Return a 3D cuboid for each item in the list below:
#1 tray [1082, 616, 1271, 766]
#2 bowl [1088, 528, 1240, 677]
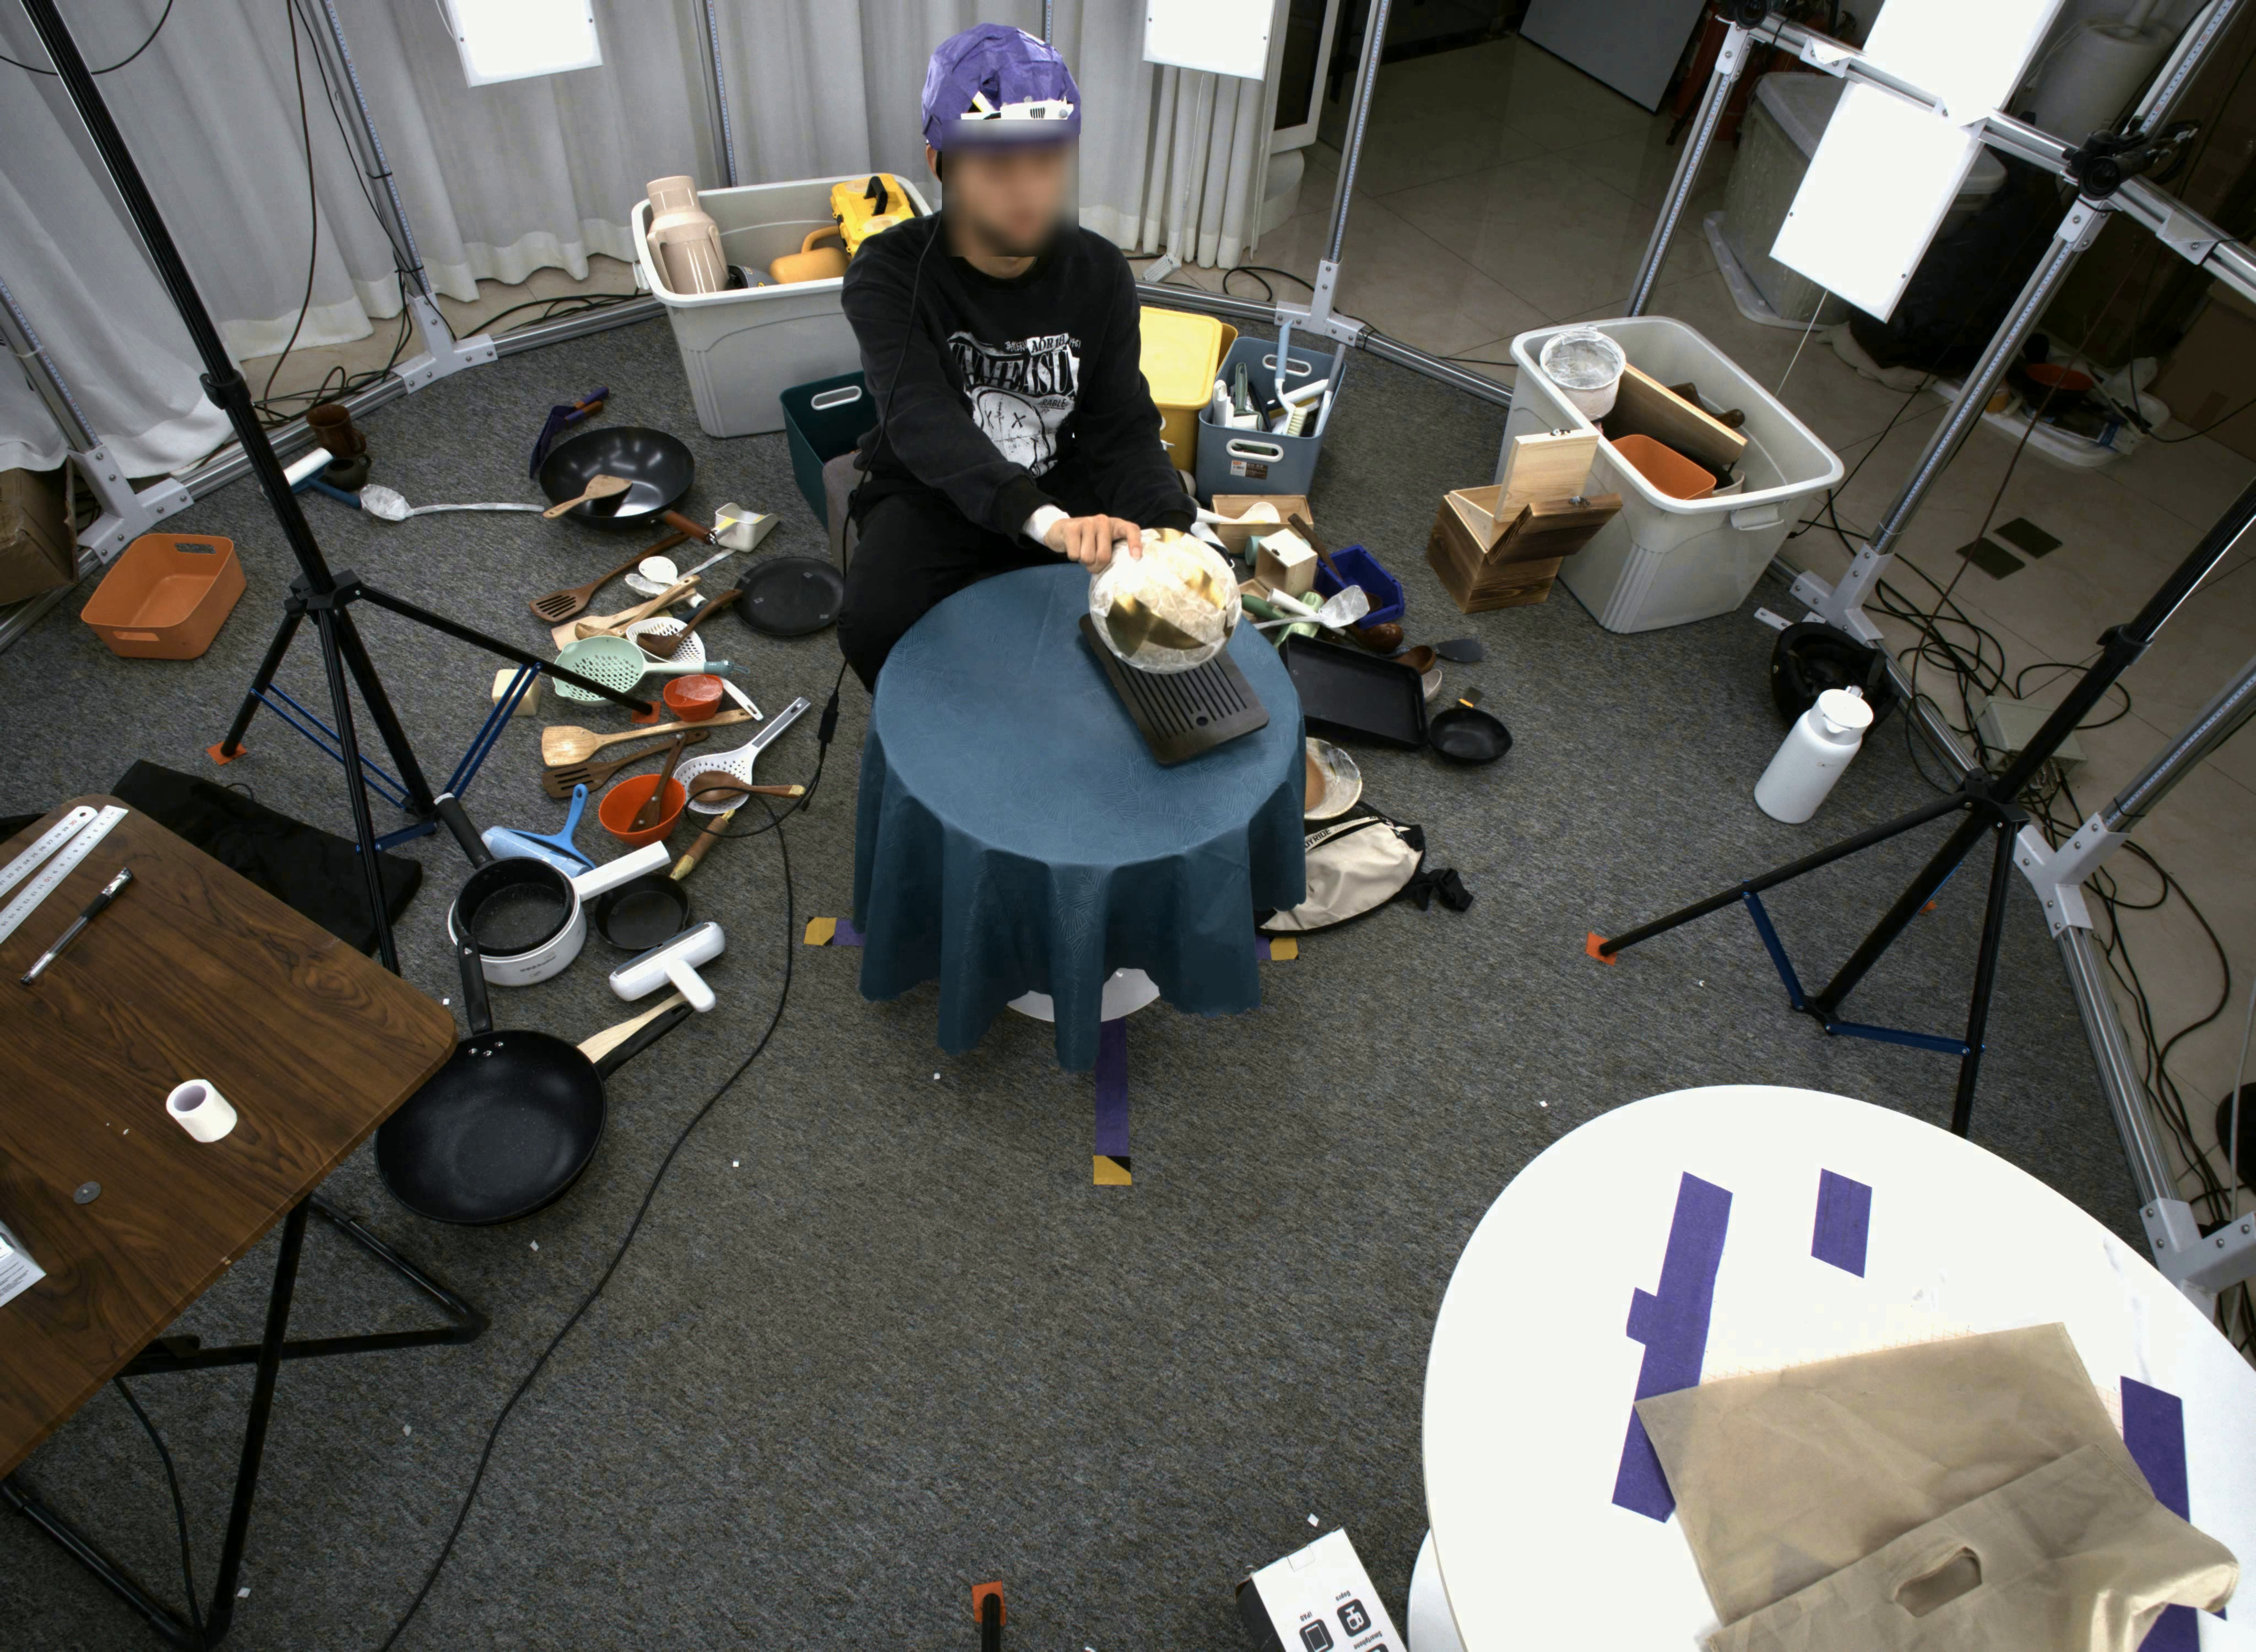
[{"bbox_3d":[0.065,-0.221,1.847,0.170,0.018,0.313,-22,55,-10],"label":"tray"},{"bbox_3d":[0.035,-0.268,1.662,0.215,0.209,0.096,15,43,9],"label":"bowl"}]
